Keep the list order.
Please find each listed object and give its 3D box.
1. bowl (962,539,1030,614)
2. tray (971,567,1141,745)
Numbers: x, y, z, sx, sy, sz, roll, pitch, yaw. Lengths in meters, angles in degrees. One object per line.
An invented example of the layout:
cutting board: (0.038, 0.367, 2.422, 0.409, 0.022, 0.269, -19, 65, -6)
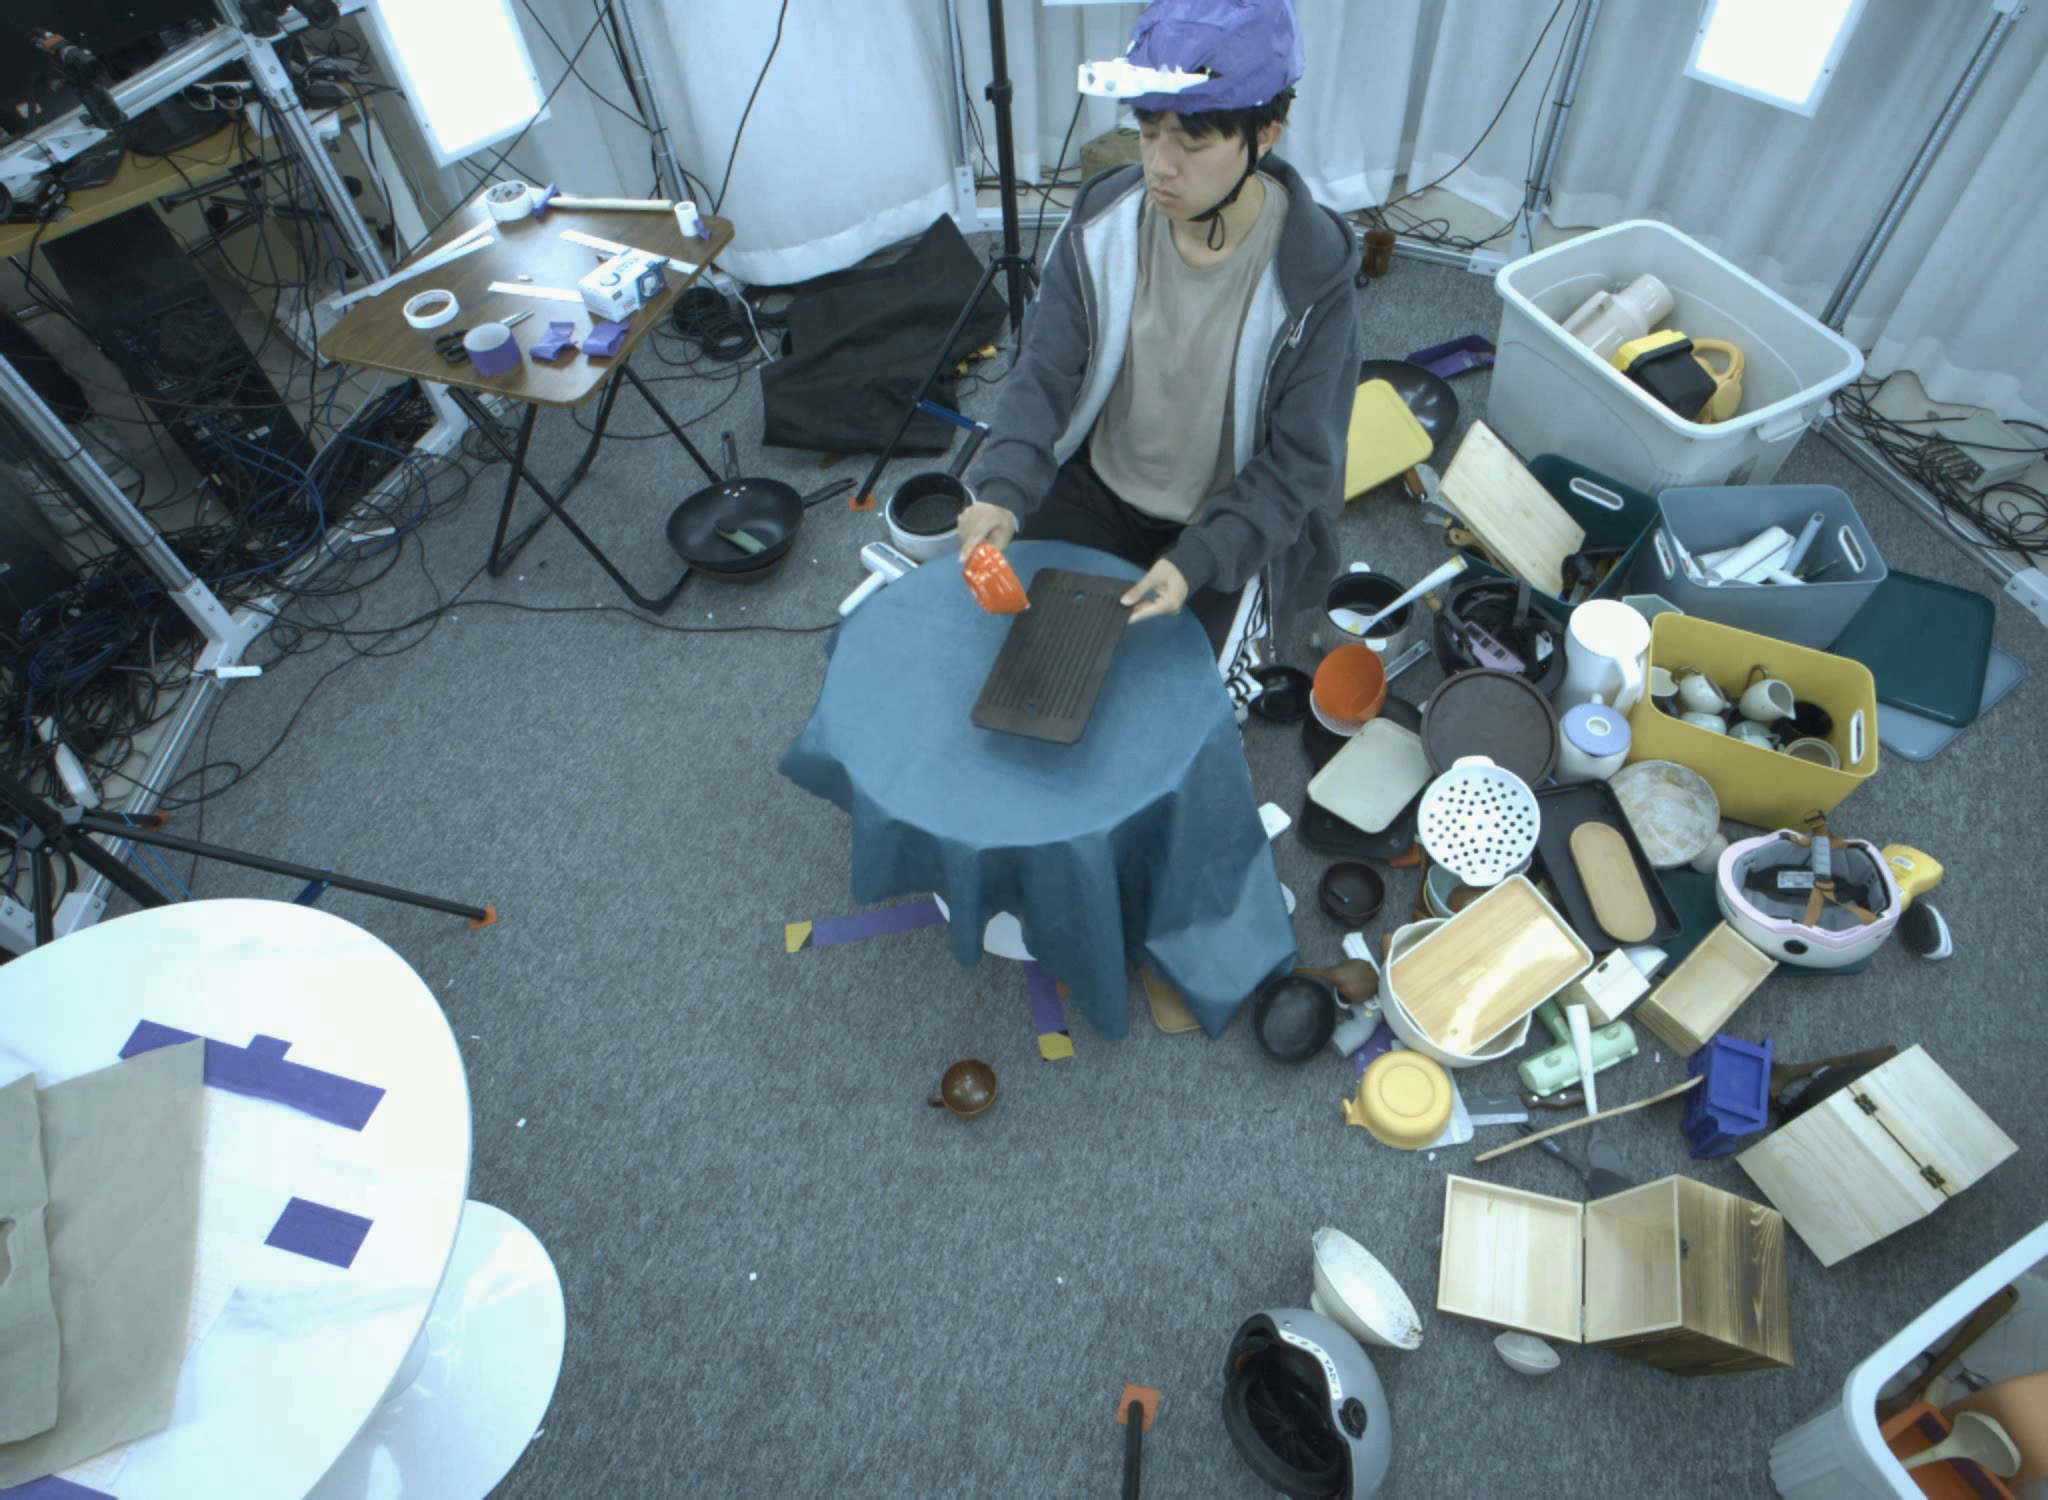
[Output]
bowl: (-0.046, -0.232, 1.705, 0.051, 0.121, 0.116, -35, 59, -5)
tray: (0.051, -0.143, 1.807, 0.168, 0.019, 0.305, 12, 60, 18)
